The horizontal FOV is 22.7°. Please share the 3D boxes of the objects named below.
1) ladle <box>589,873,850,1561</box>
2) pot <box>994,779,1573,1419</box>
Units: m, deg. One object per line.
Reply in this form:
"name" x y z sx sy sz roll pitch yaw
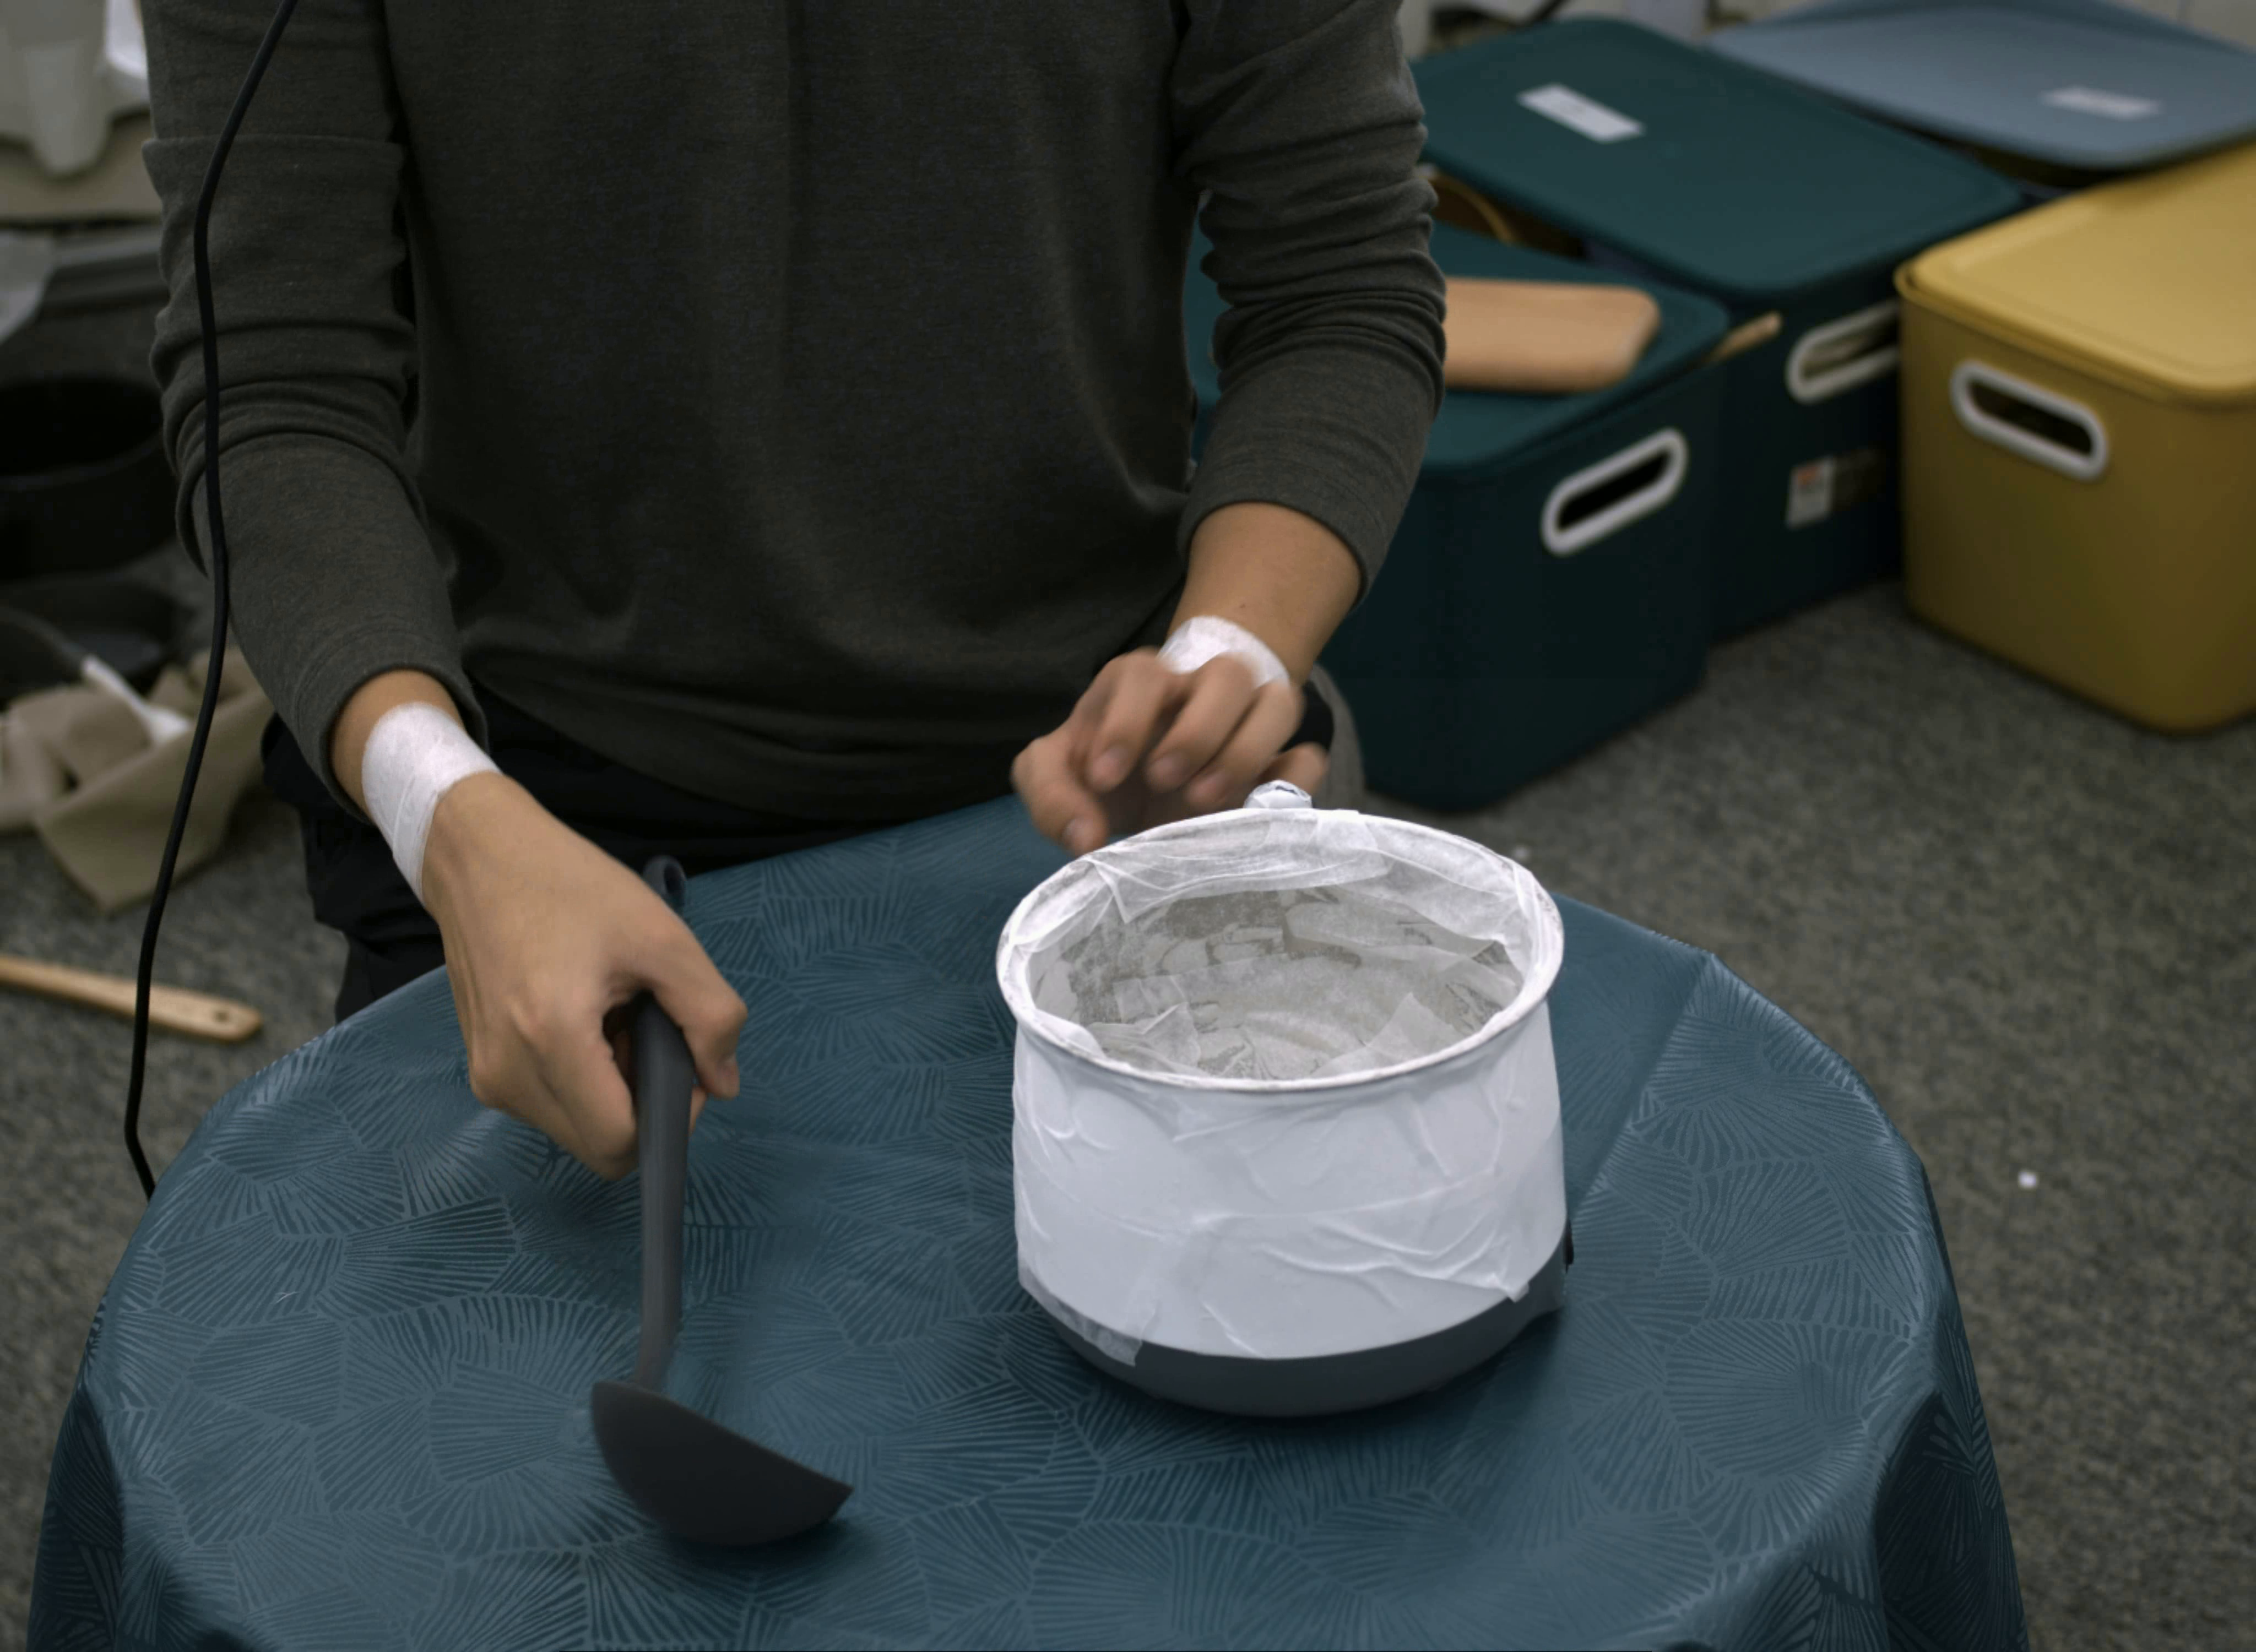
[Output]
"ladle" -0.134 0.108 1.772 0.063 0.086 0.320 -39 32 25
"pot" 0.050 0.079 1.793 0.178 0.135 0.237 -2 27 1
